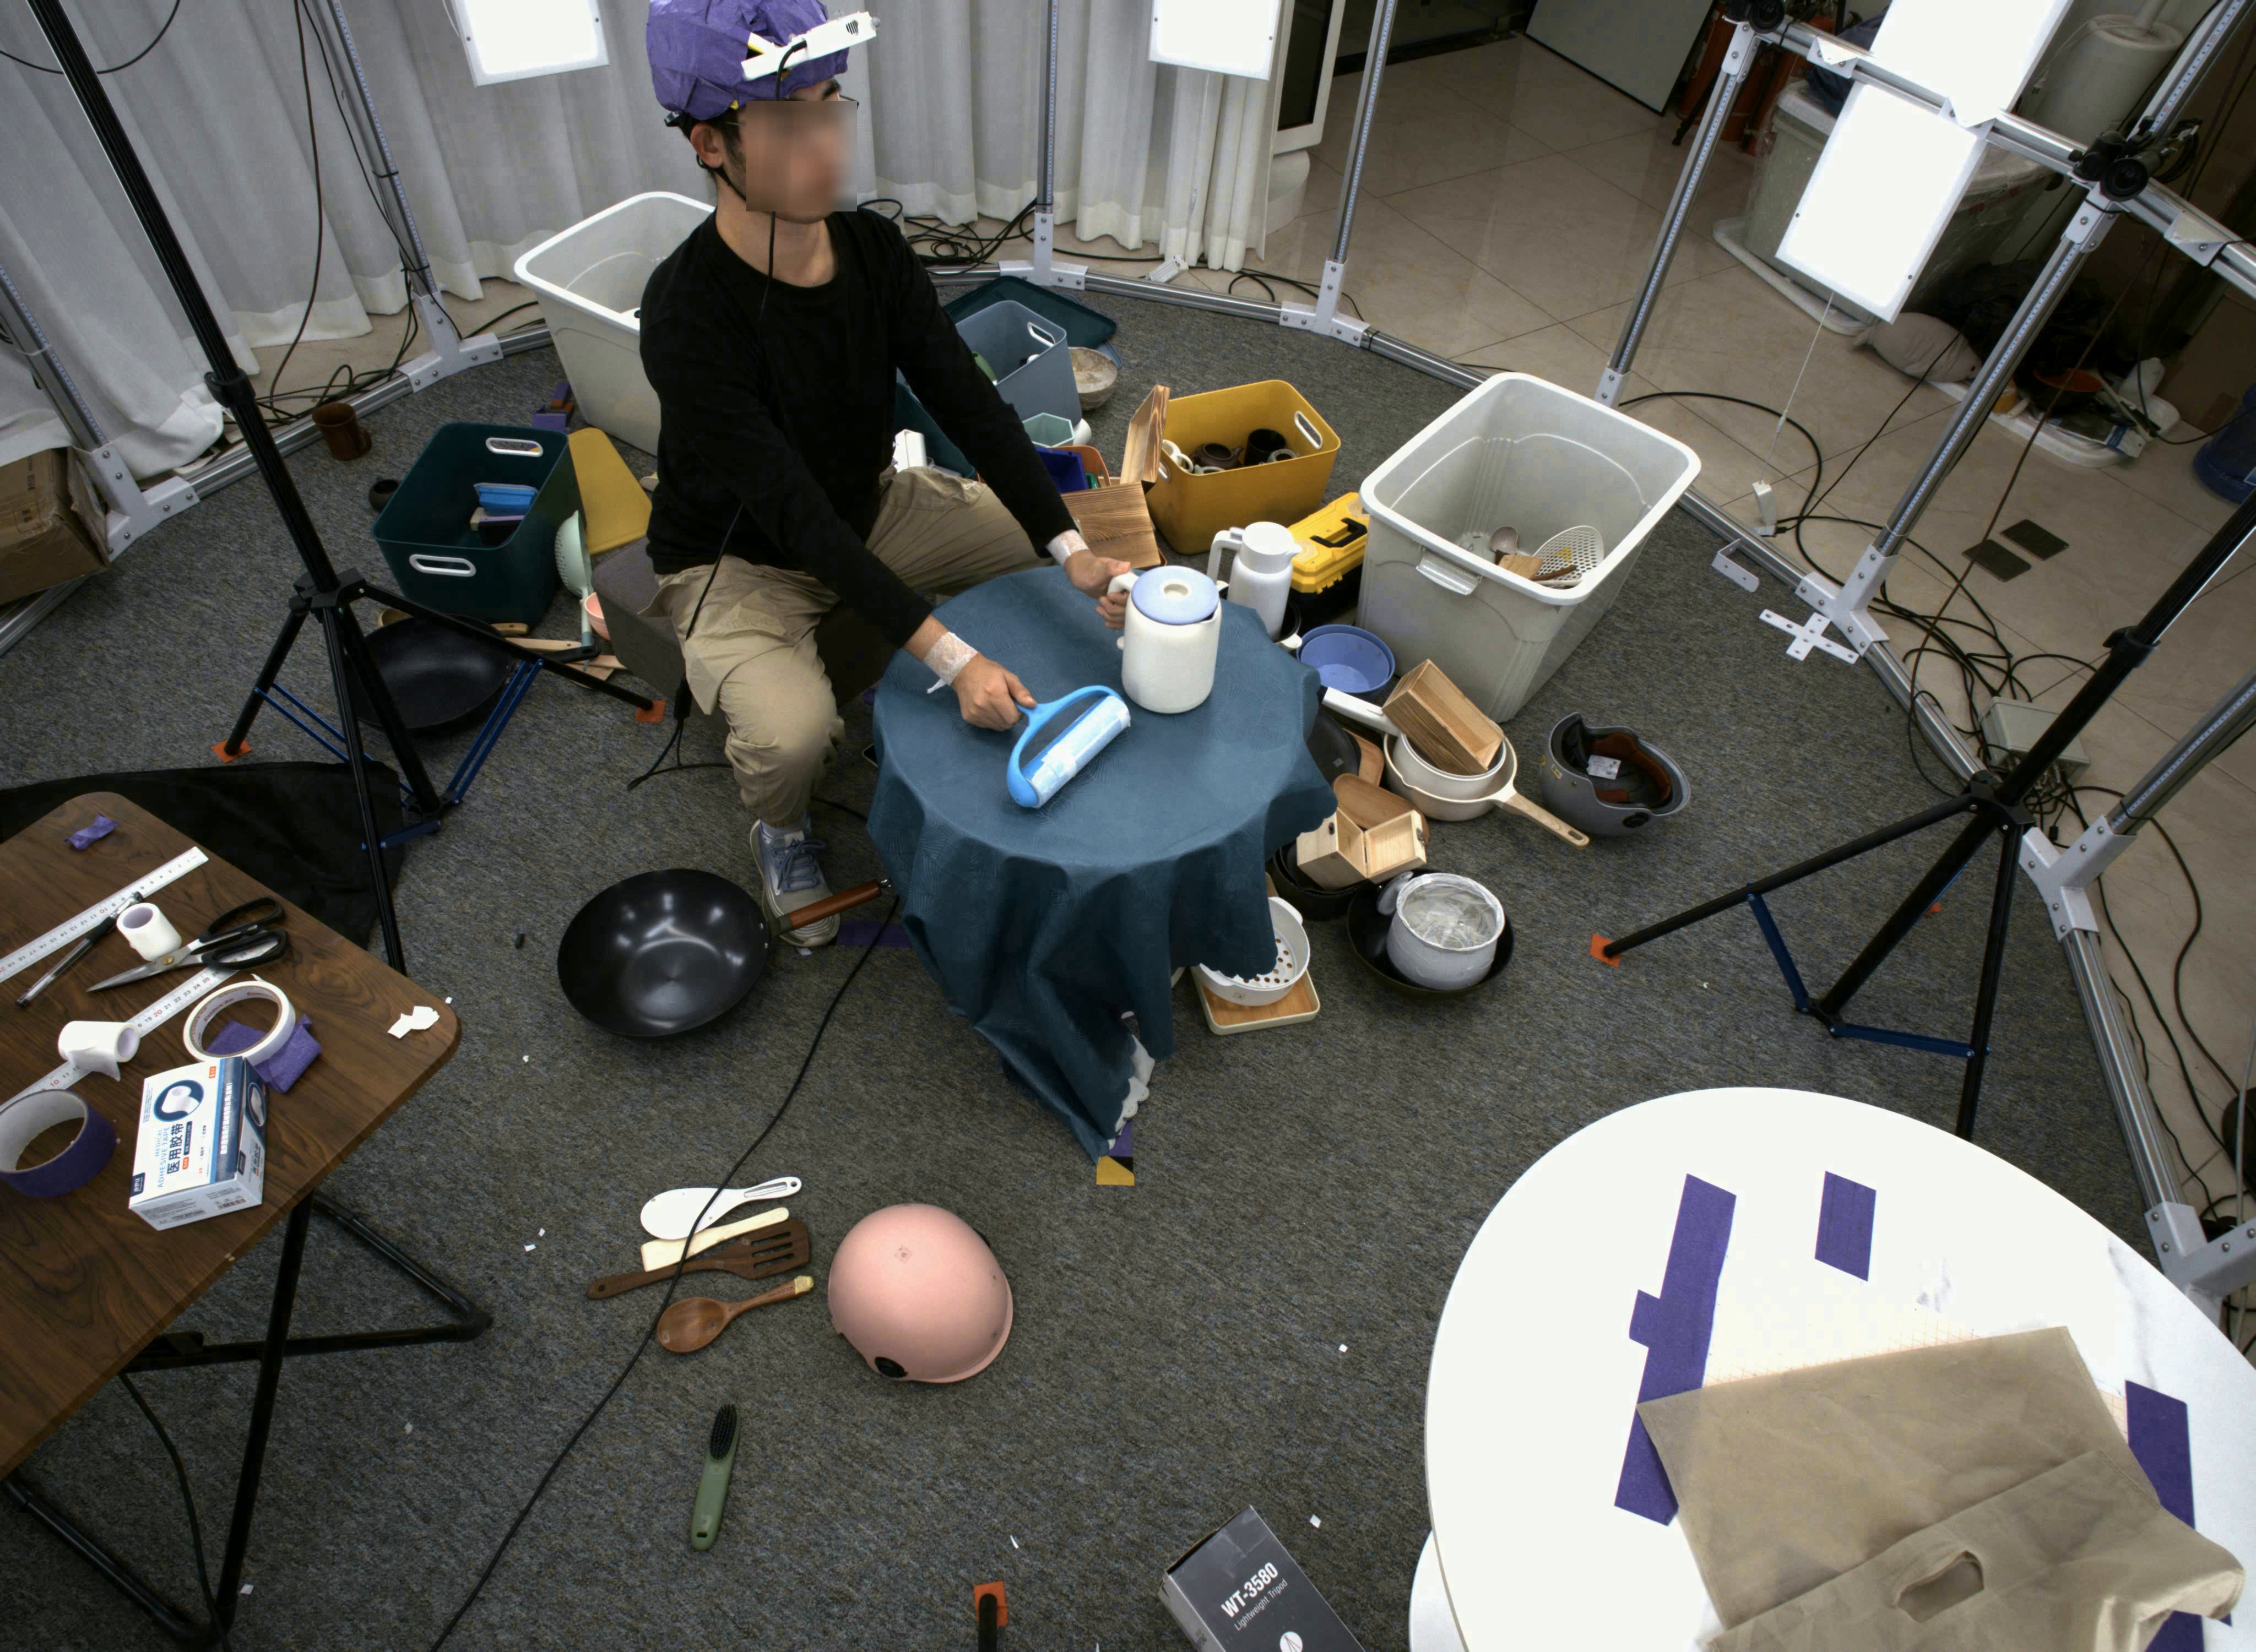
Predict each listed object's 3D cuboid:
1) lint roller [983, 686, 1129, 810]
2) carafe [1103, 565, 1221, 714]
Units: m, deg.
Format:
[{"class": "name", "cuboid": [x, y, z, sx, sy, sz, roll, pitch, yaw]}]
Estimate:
[{"class": "lint roller", "cuboid": [-0.123, -0.135, 1.733, 0.181, 0.066, 0.232, 35, 58, 11]}, {"class": "carafe", "cuboid": [0.041, -0.271, 1.797, 0.194, 0.178, 0.133, 33, 54, 26]}]
